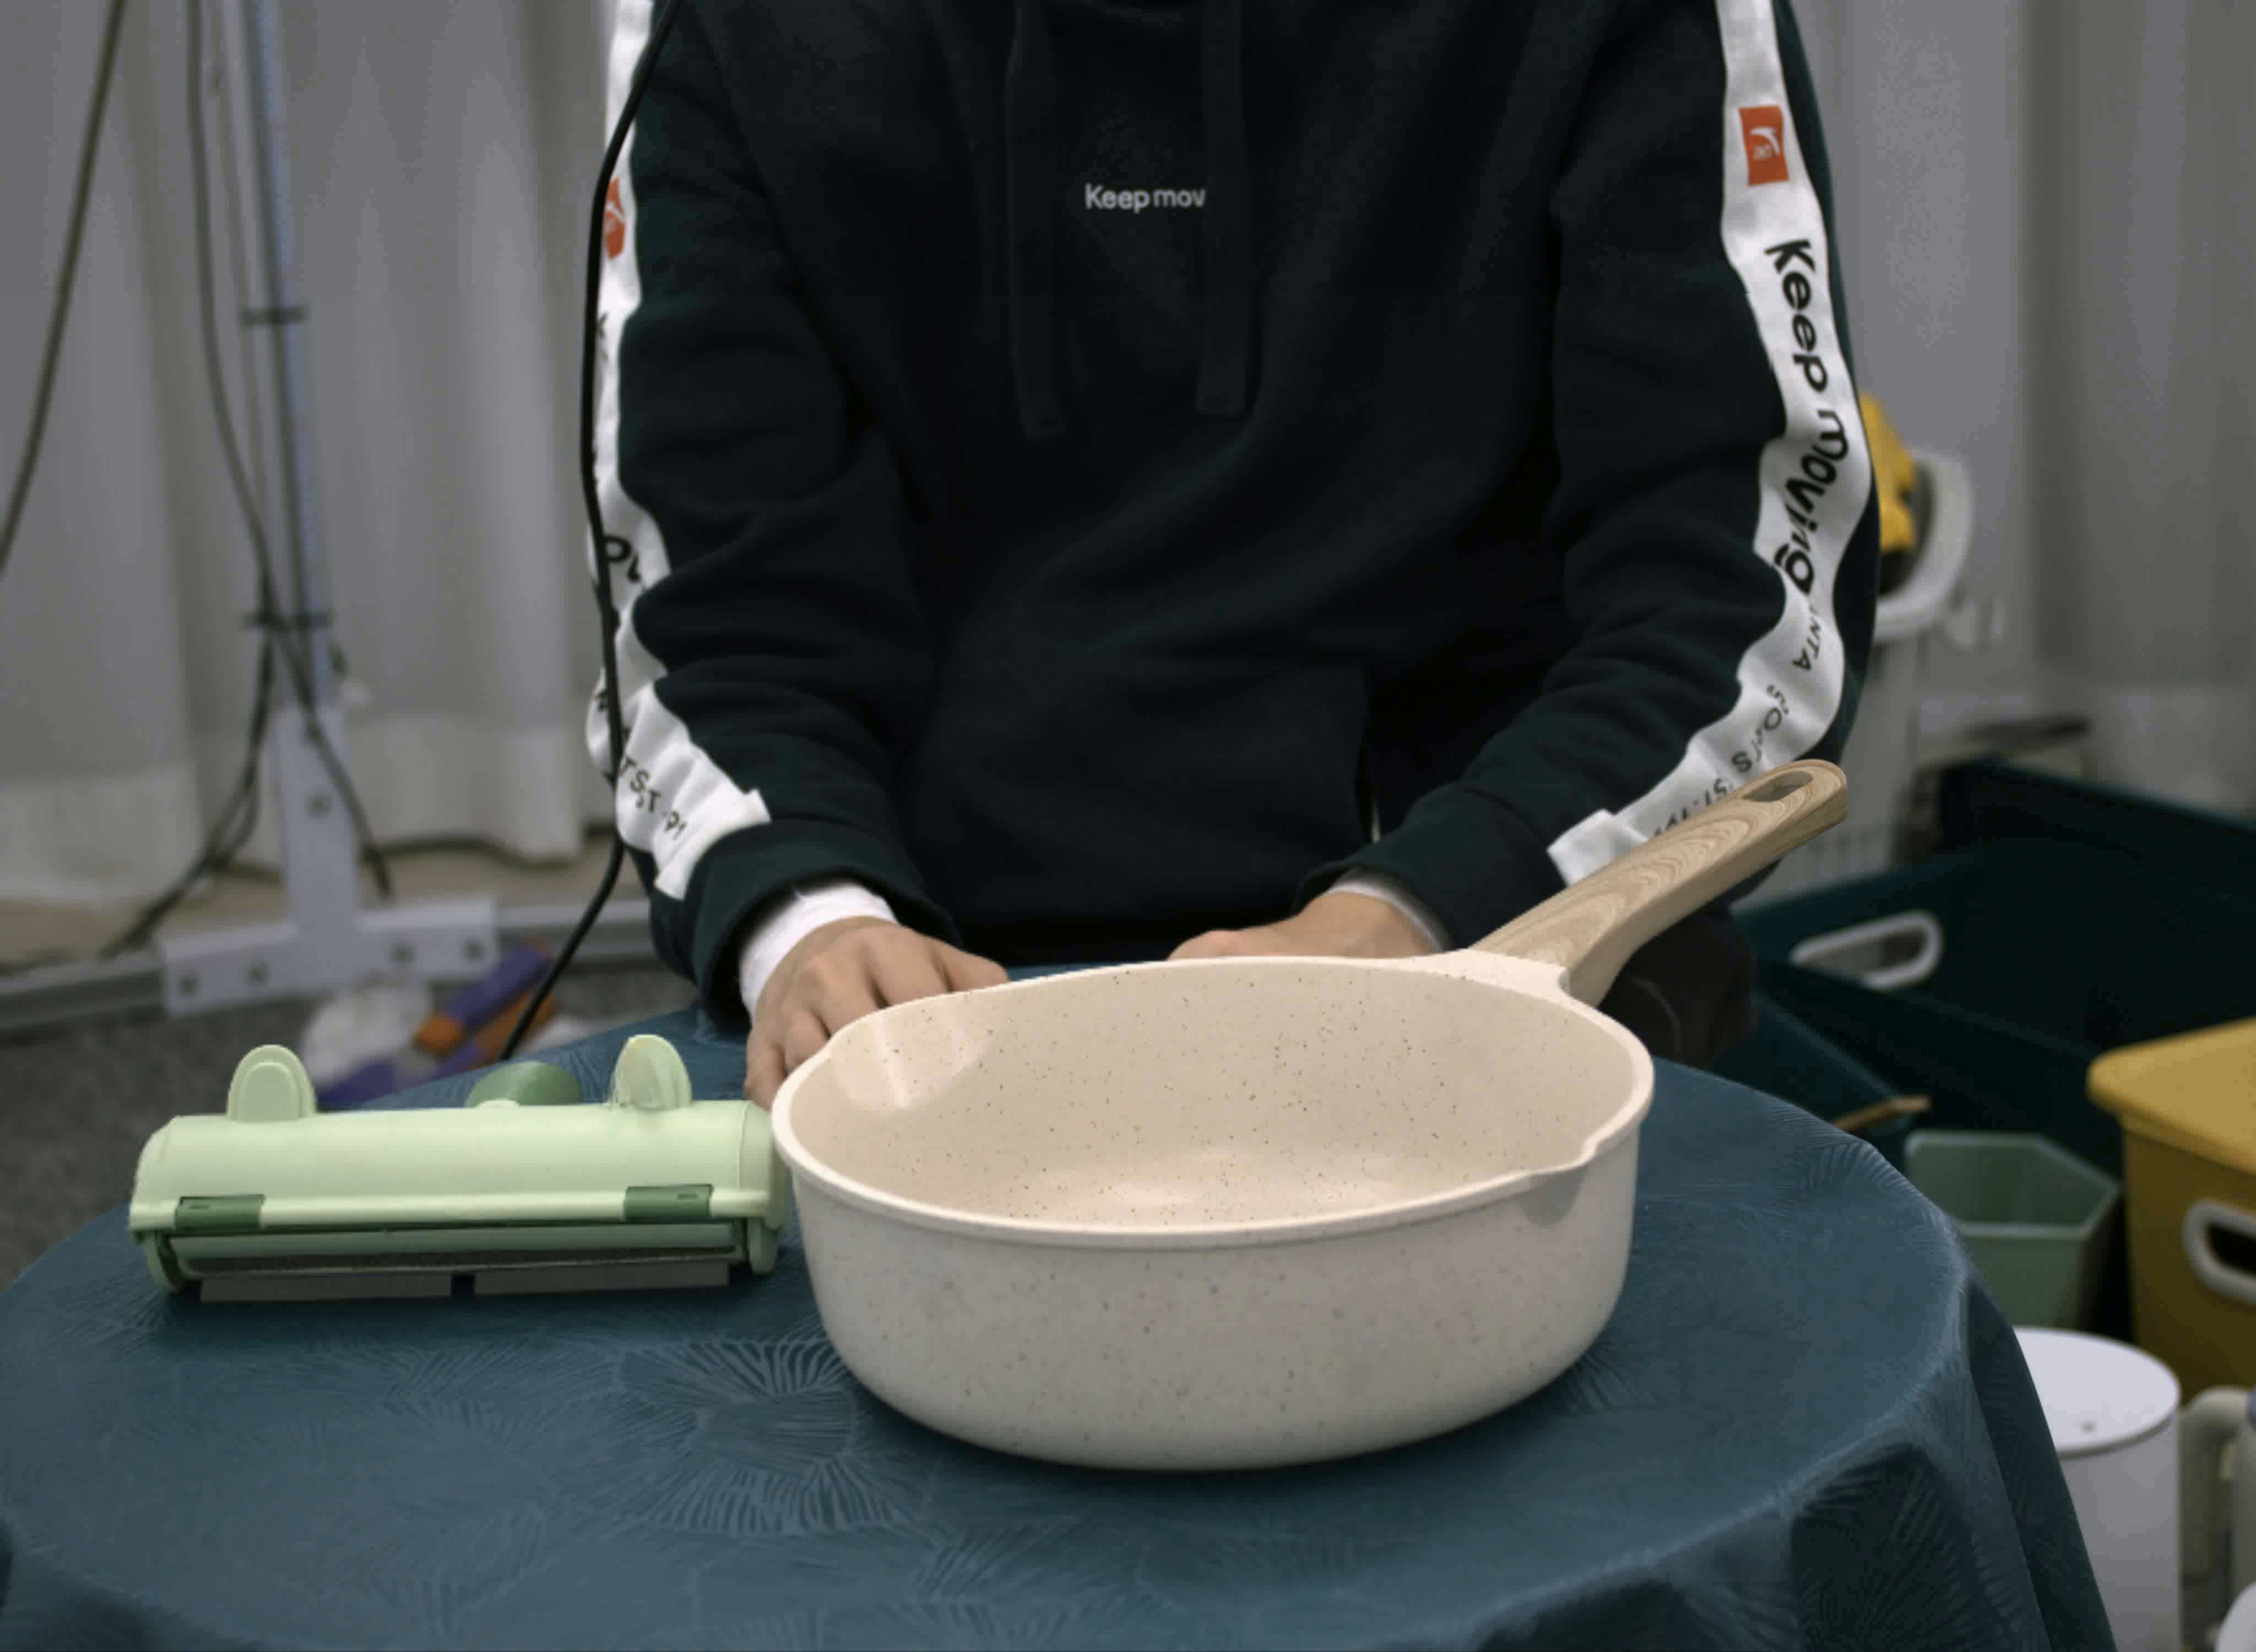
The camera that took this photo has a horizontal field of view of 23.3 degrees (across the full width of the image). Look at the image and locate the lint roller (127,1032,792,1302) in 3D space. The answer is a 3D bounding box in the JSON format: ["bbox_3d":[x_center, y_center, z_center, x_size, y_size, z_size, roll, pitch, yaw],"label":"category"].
[{"bbox_3d":[-0.199,0.087,1.711,0.198,0.081,0.185,-2,21,4],"label":"lint roller"}]

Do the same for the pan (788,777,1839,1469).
[{"bbox_3d":[0.089,0.084,1.622,0.264,0.101,0.434,8,18,40],"label":"pan"}]
